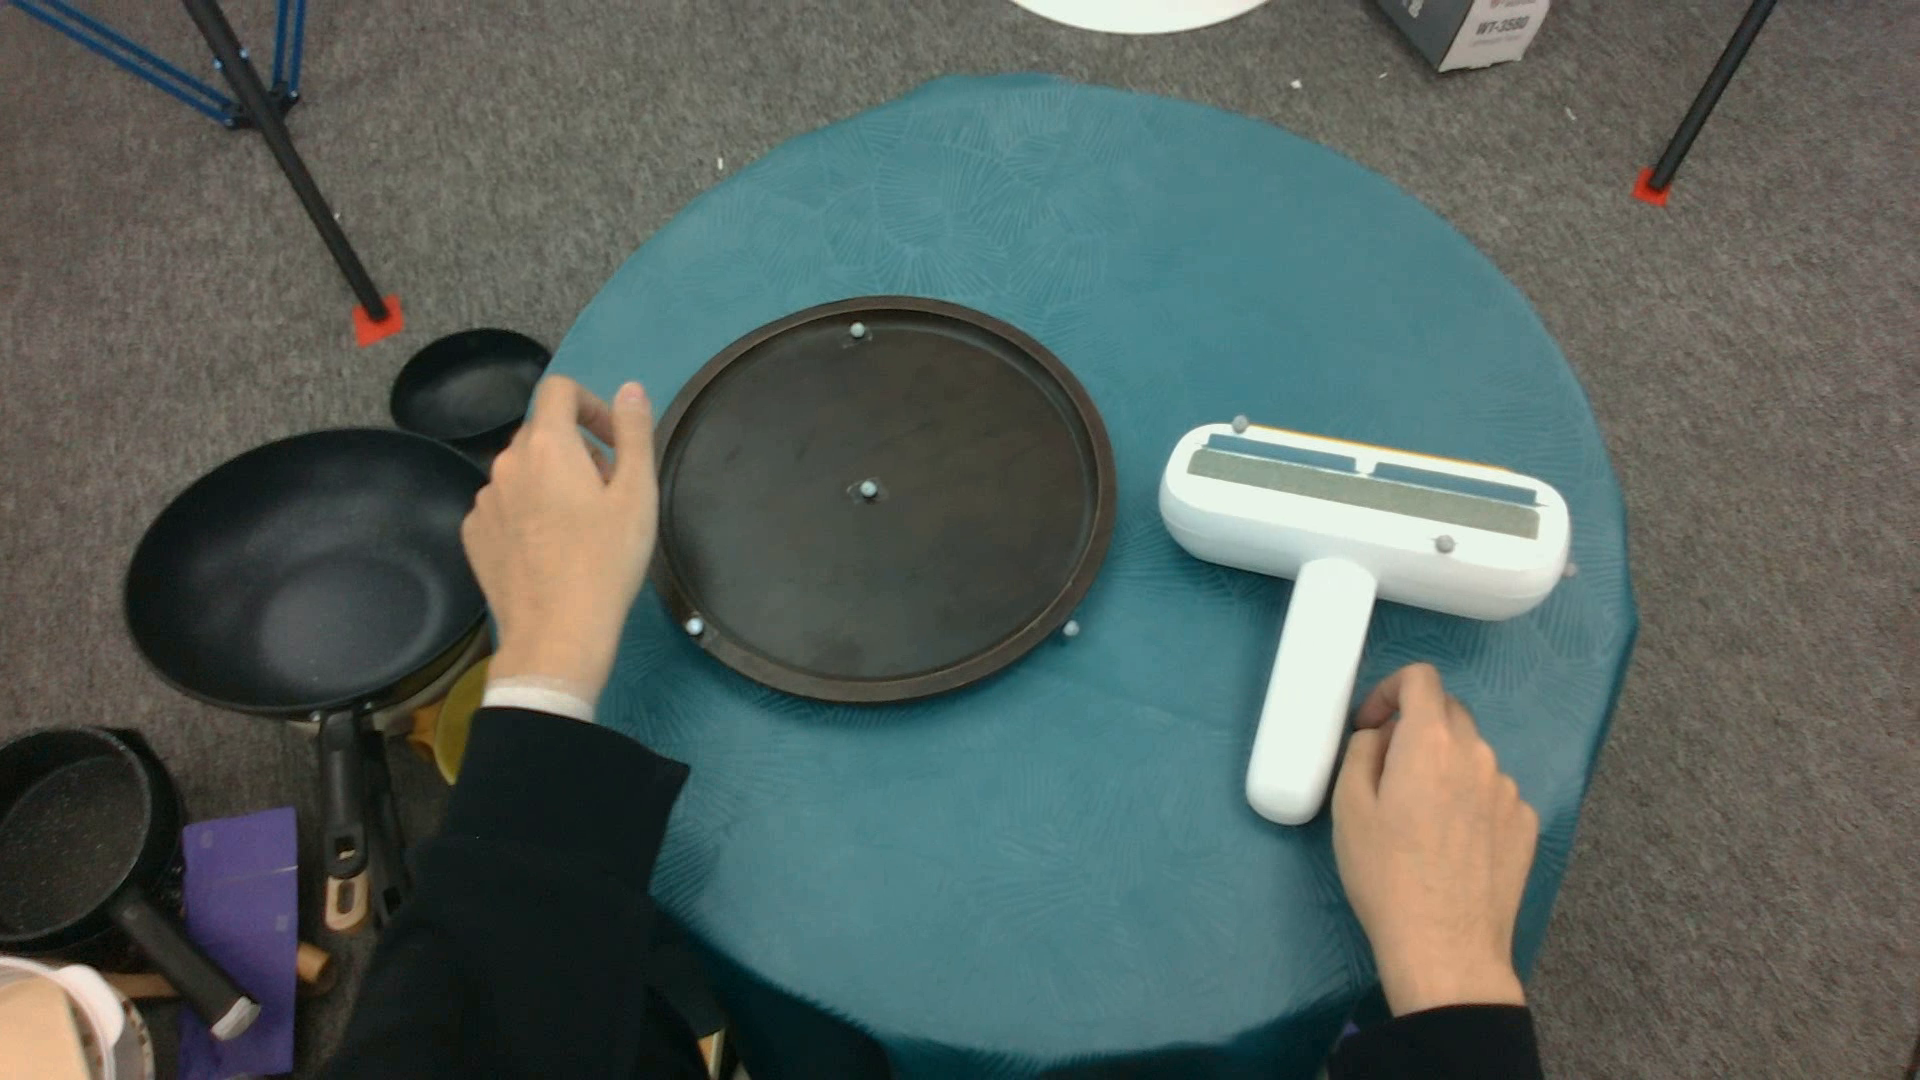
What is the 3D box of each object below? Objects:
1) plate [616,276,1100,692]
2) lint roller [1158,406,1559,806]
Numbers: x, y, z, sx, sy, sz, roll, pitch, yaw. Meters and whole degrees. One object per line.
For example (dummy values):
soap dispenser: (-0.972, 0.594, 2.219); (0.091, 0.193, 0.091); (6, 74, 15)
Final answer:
plate: (-0.053, -0.035, 0.727); (0.255, 0.029, 0.256); (0, 61, 0)
lint roller: (0.171, 0.033, 0.663); (0.193, 0.074, 0.193); (18, 63, 16)
